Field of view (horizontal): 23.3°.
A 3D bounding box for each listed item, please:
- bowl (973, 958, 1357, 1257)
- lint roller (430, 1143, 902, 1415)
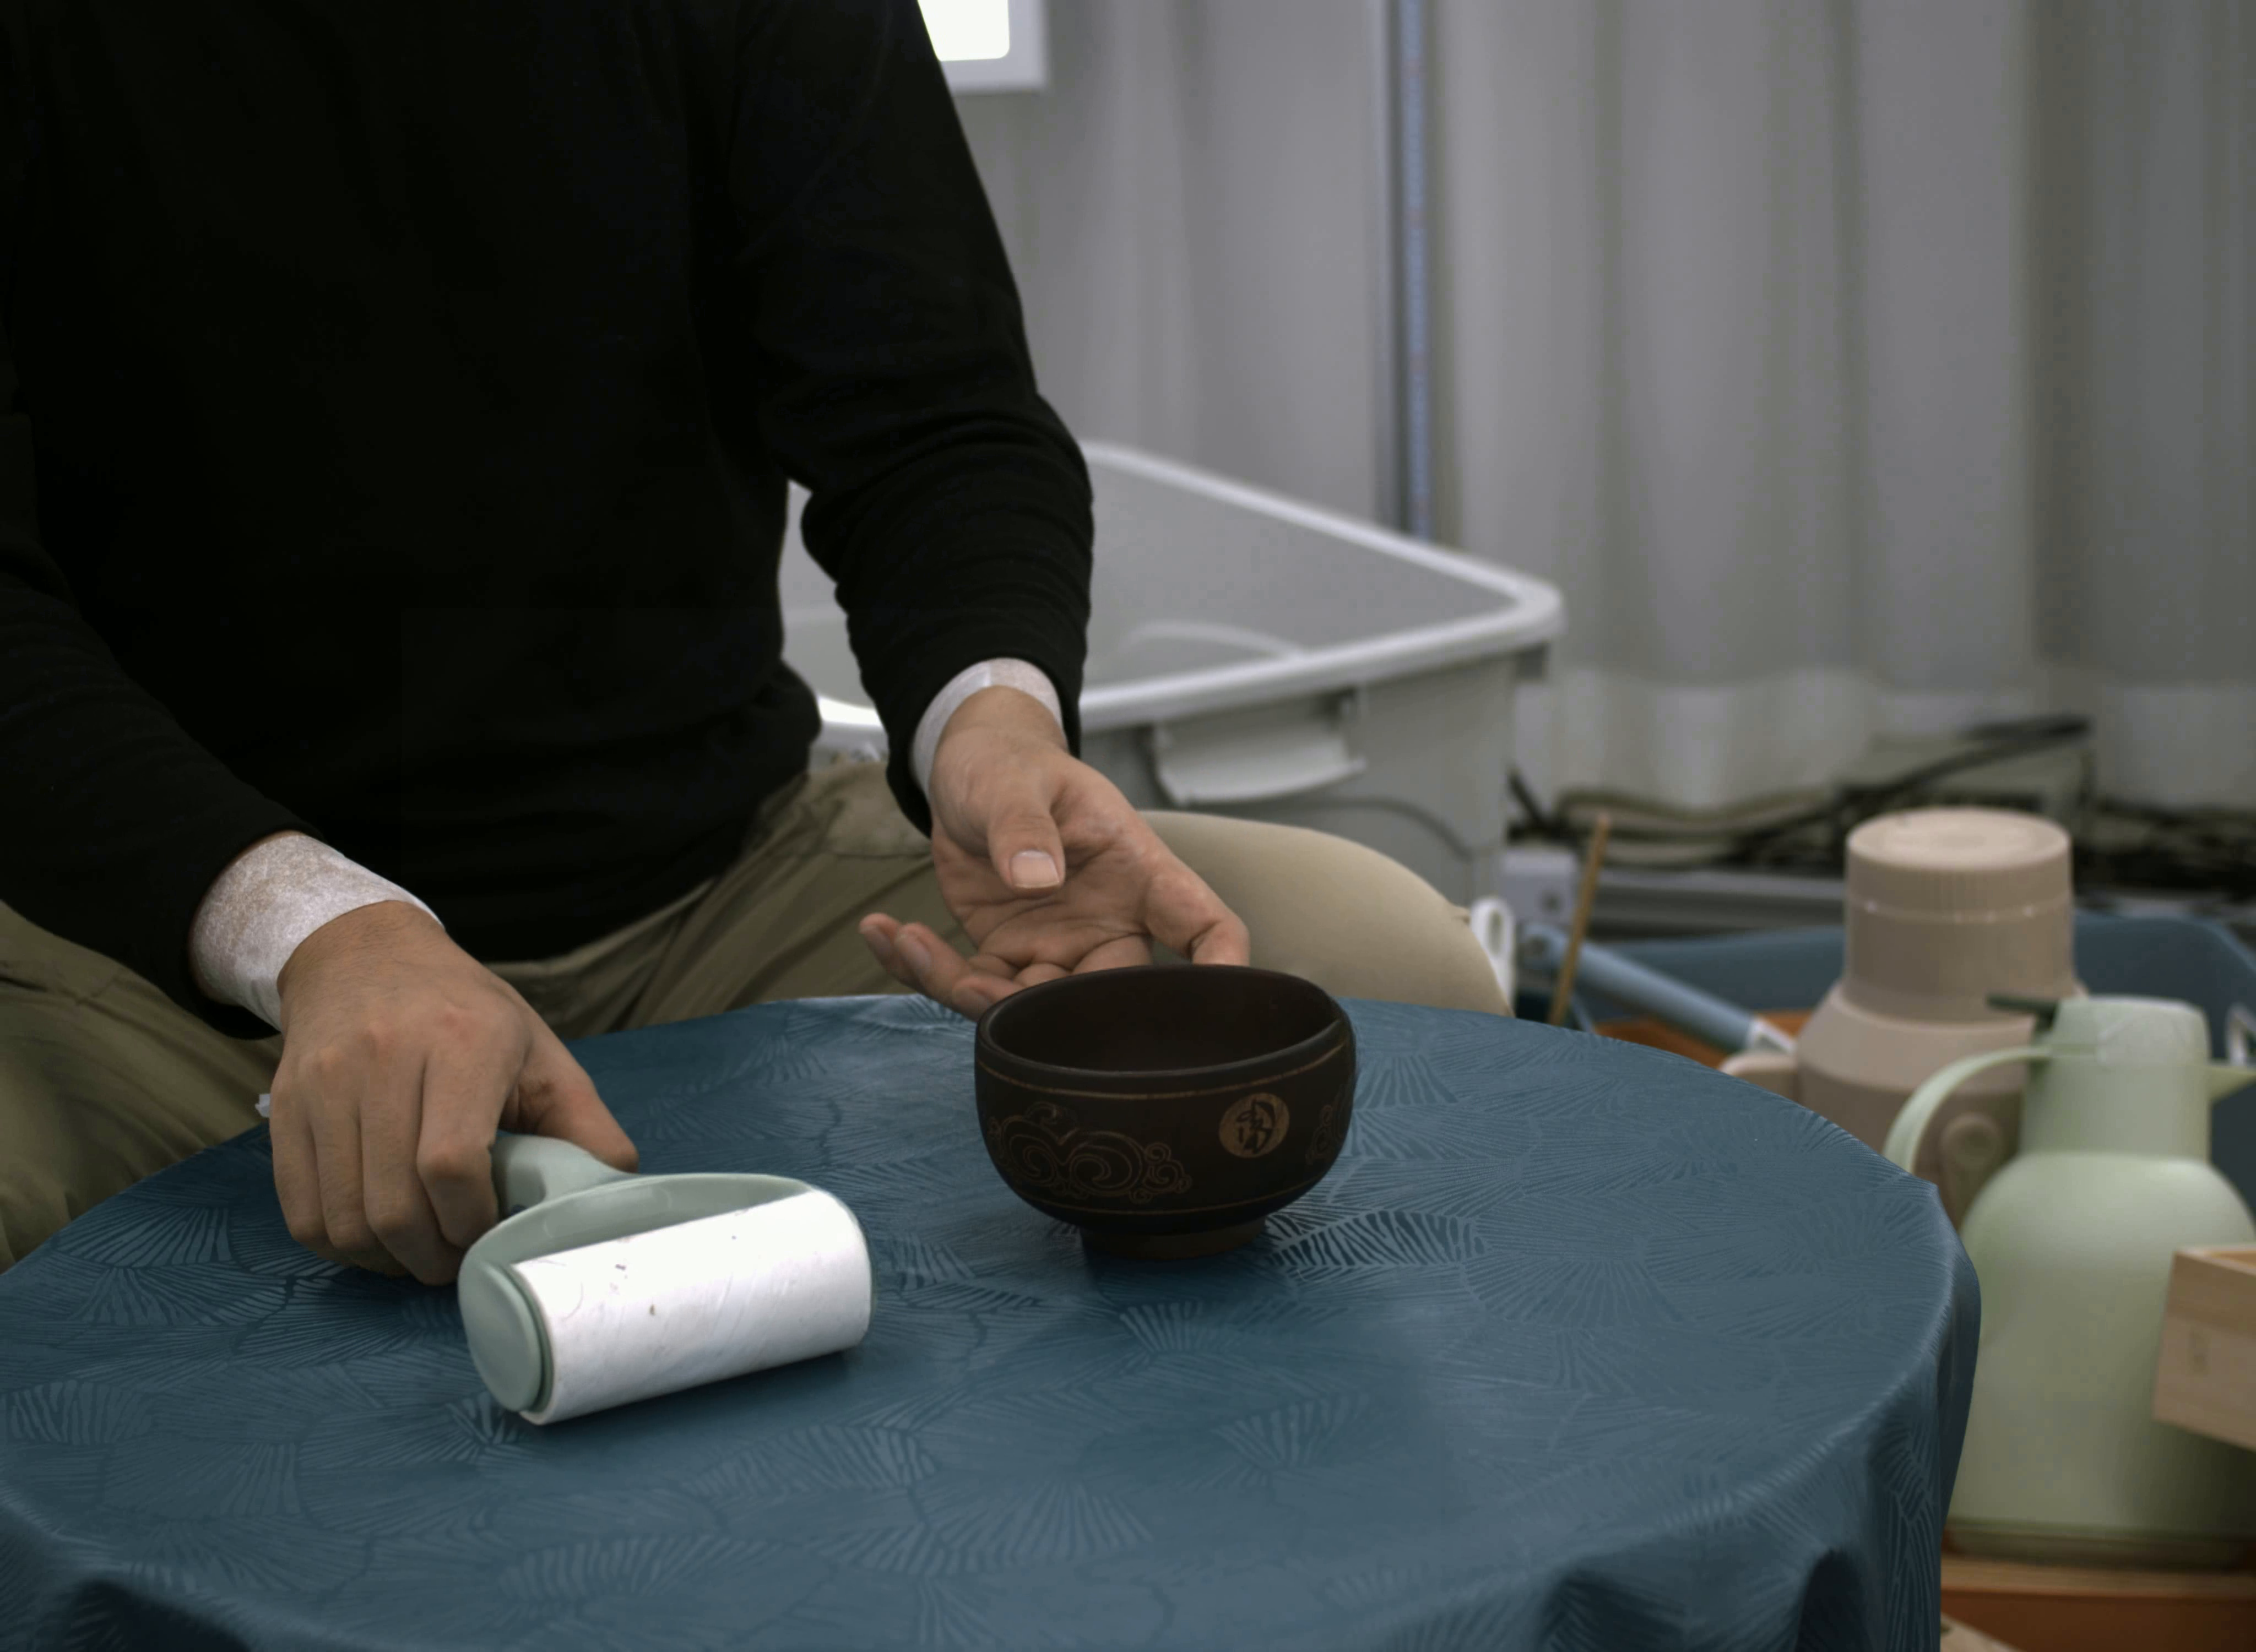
[{"bbox_3d":[0.012,0.090,1.668,0.117,0.069,0.119,-4,14,1],"label":"bowl"},{"bbox_3d":[-0.158,0.120,1.626,0.116,0.048,0.199,-12,18,-28],"label":"lint roller"}]
